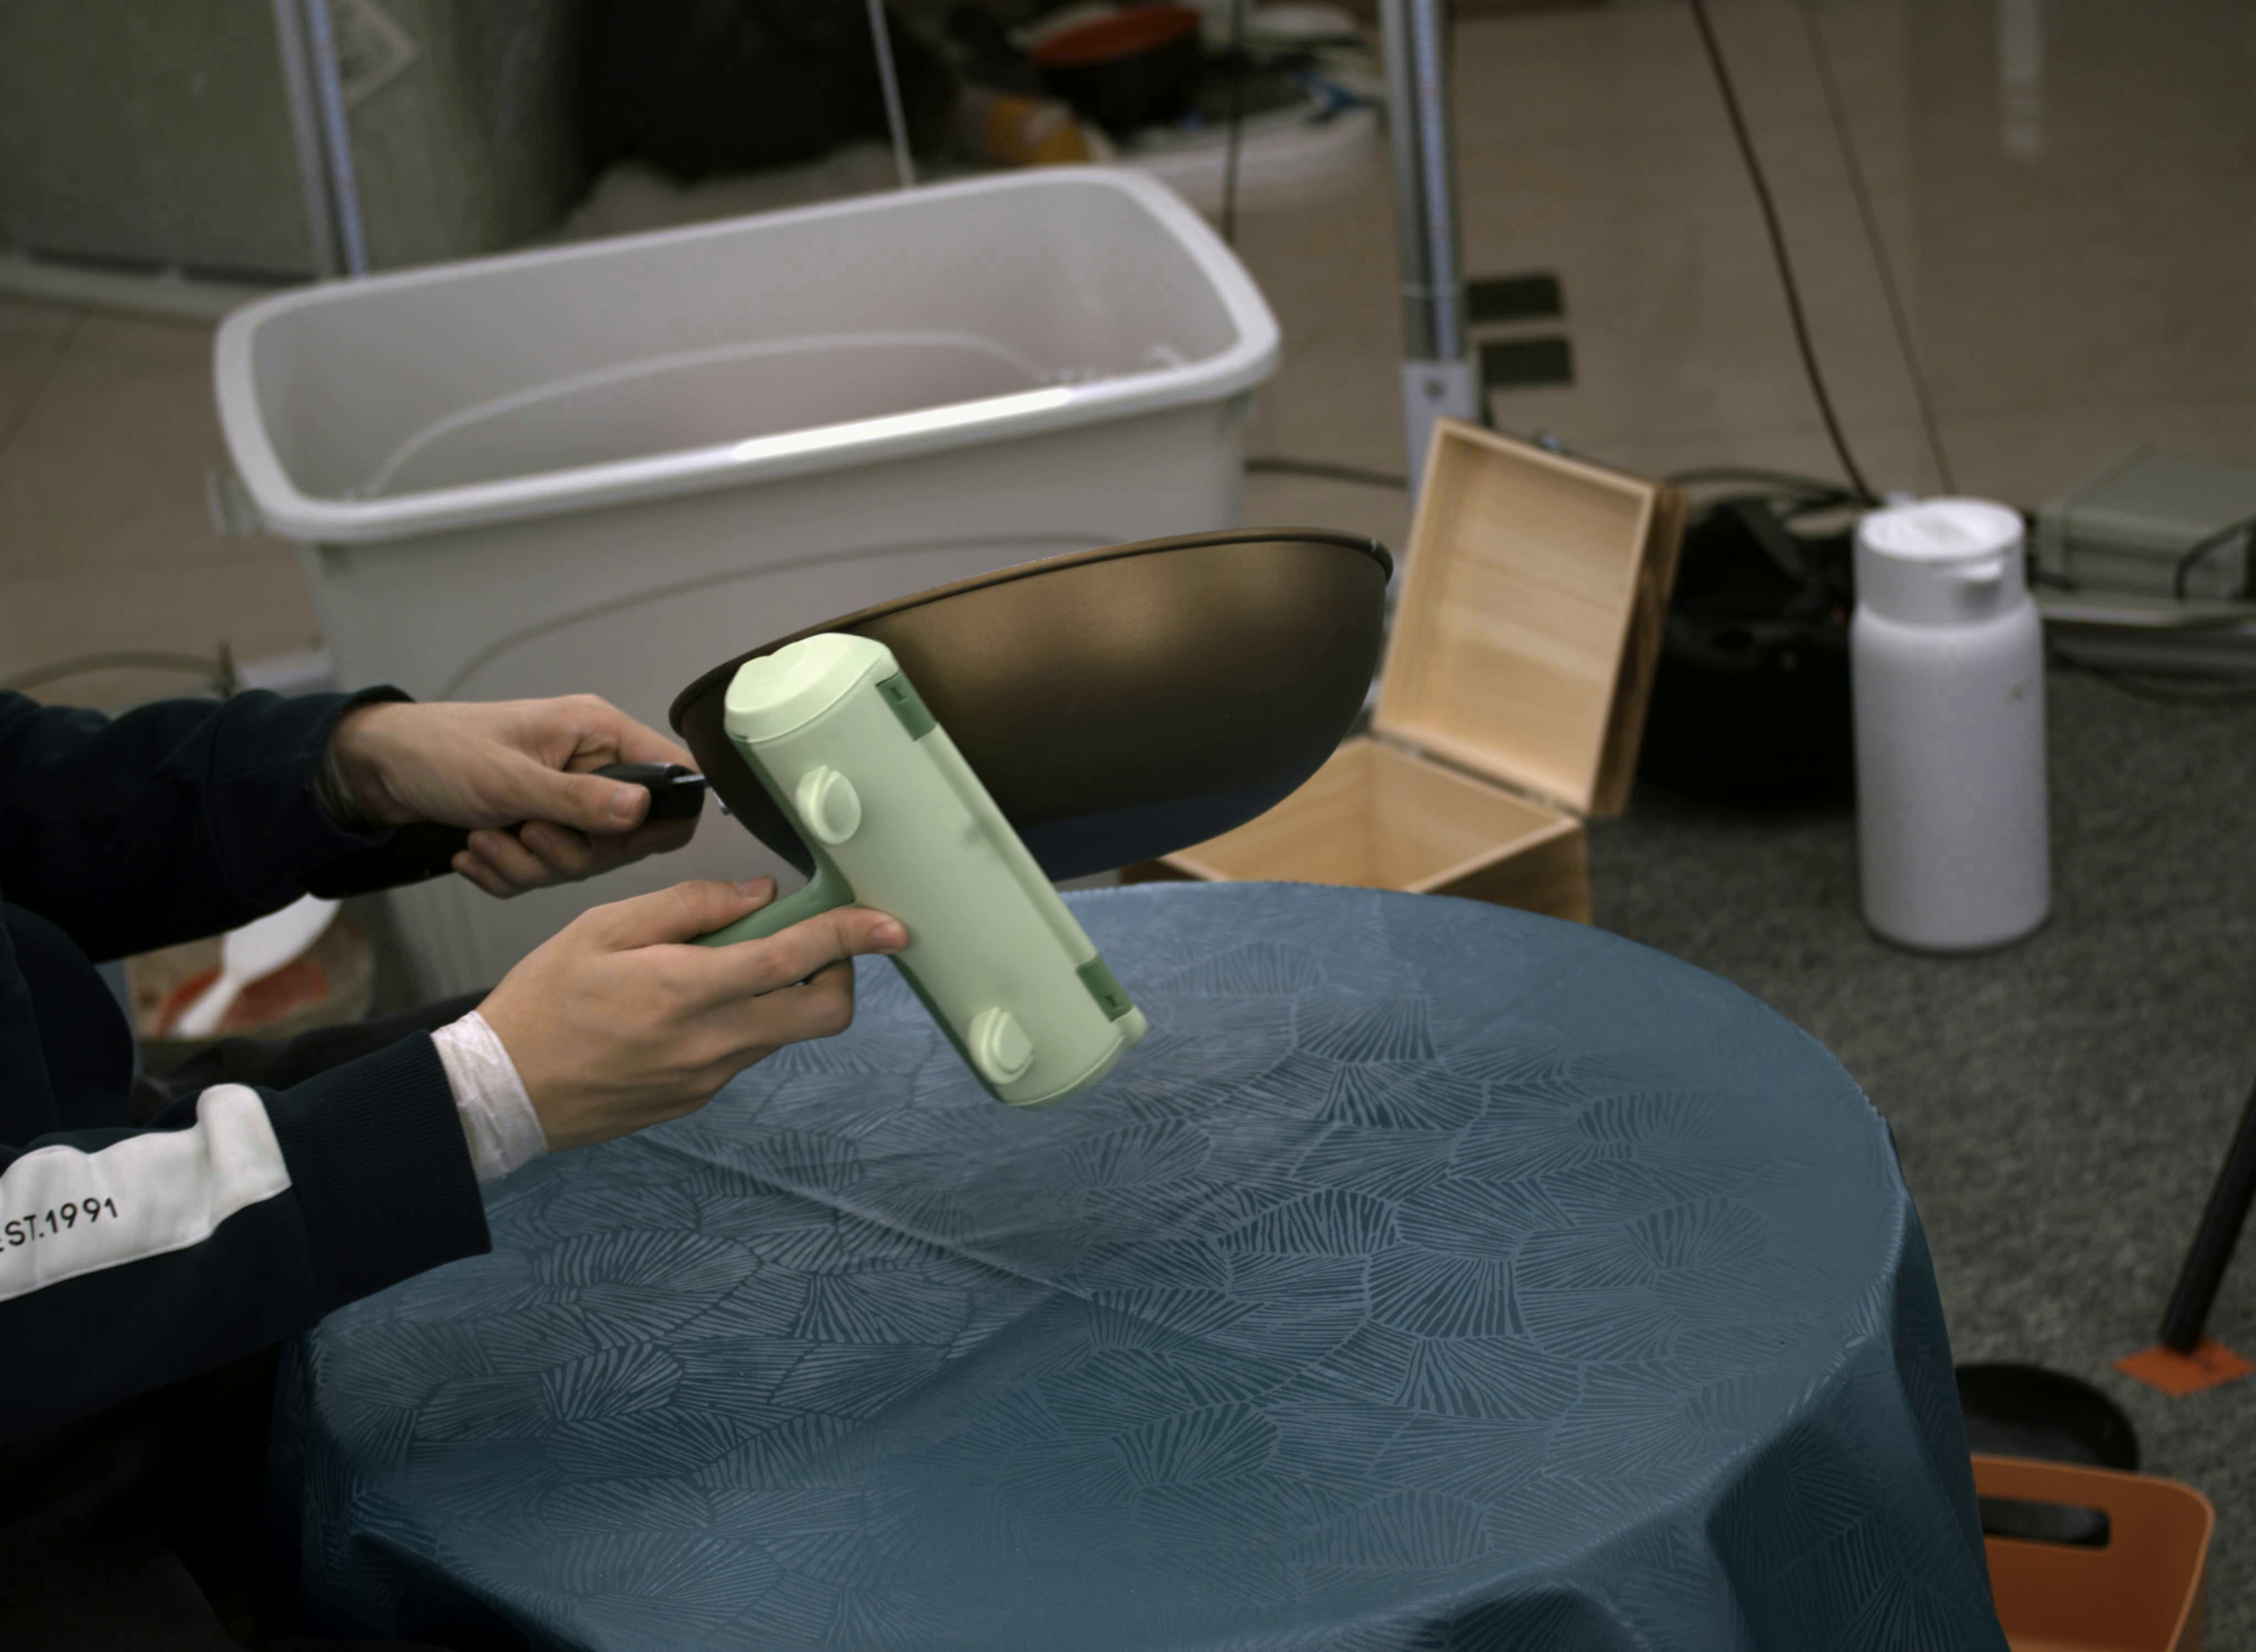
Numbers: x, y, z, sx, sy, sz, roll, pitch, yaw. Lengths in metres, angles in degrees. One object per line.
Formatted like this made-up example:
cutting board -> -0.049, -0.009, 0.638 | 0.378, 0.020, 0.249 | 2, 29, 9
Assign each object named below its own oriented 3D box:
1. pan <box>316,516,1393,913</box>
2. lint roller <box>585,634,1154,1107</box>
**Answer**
pan -> -0.109, -0.006, 2.144 | 0.464, 0.086, 0.289 | -18, -11, 22
lint roller -> -0.115, 0.047, 2.009 | 0.184, 0.201, 0.081 | -30, 29, 11
